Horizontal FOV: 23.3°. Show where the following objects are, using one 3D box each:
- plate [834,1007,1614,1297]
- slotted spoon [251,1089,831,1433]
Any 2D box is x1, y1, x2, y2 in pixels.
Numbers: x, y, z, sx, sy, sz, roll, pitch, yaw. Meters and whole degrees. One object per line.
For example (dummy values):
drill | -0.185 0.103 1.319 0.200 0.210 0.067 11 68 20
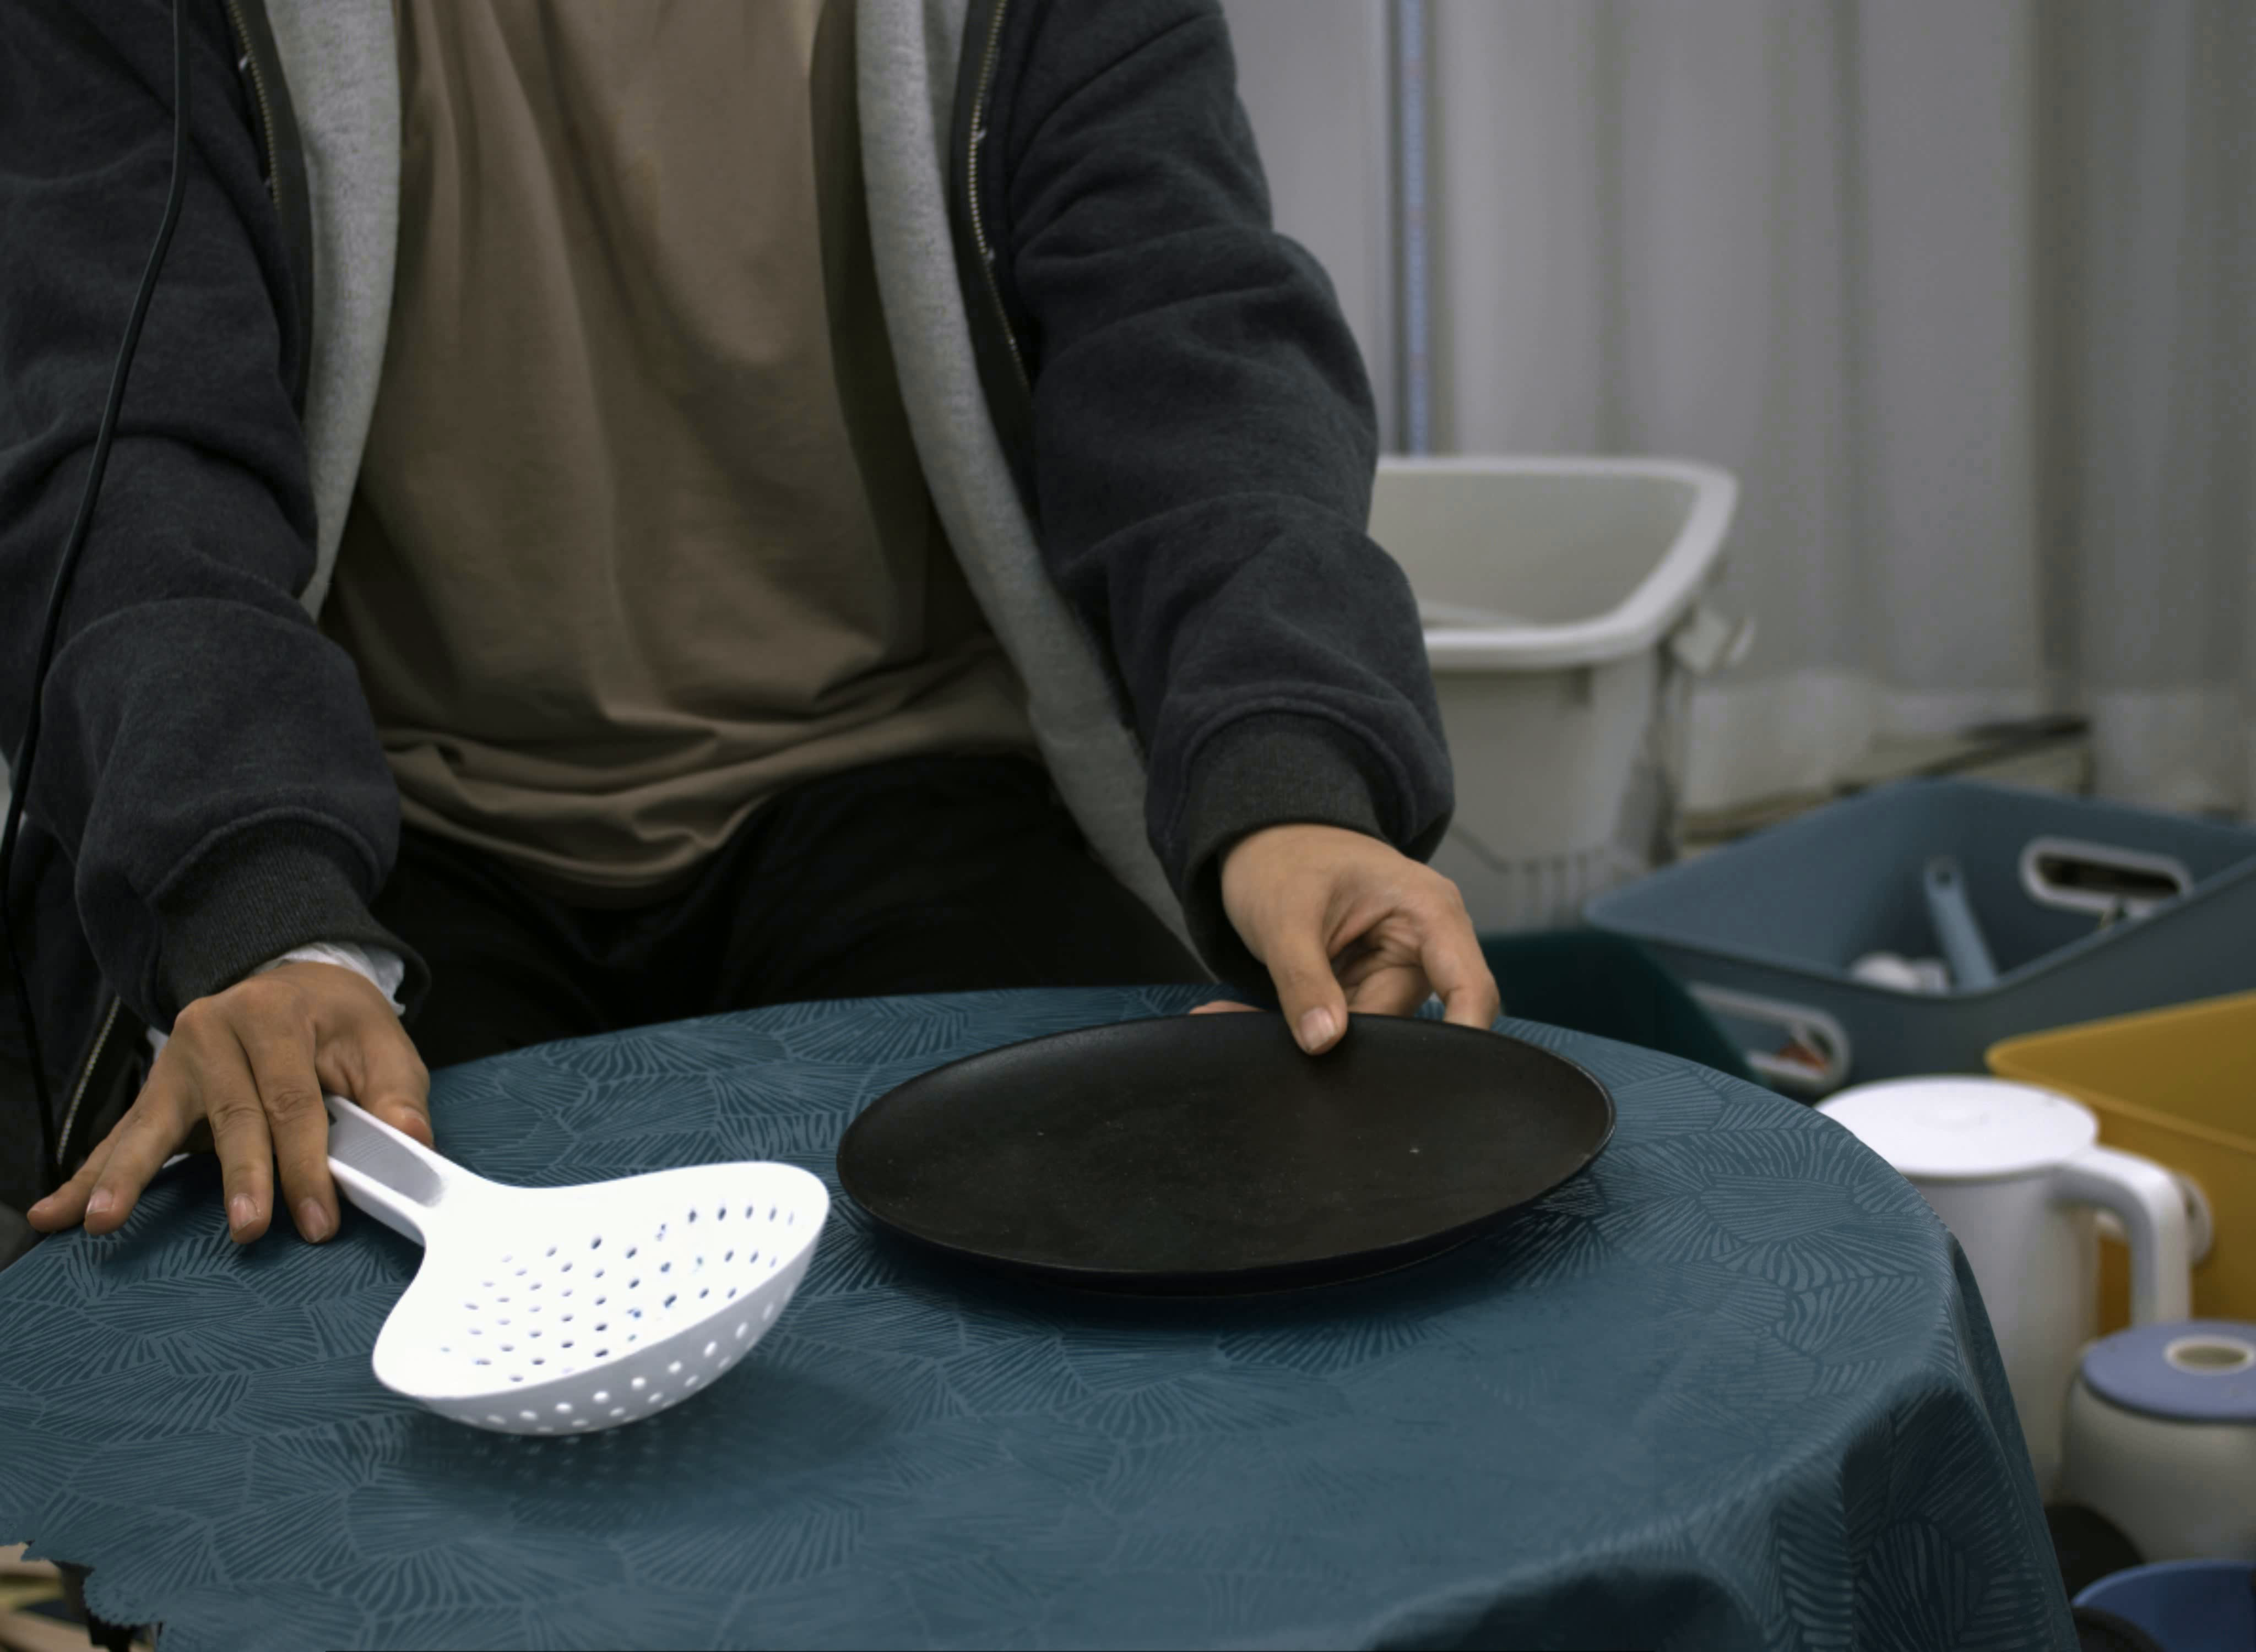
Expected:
plate | 0.030 0.104 1.698 0.243 0.023 0.246 -4 16 1
slotted spoon | -0.196 0.120 1.638 0.136 0.045 0.352 -23 22 -23
